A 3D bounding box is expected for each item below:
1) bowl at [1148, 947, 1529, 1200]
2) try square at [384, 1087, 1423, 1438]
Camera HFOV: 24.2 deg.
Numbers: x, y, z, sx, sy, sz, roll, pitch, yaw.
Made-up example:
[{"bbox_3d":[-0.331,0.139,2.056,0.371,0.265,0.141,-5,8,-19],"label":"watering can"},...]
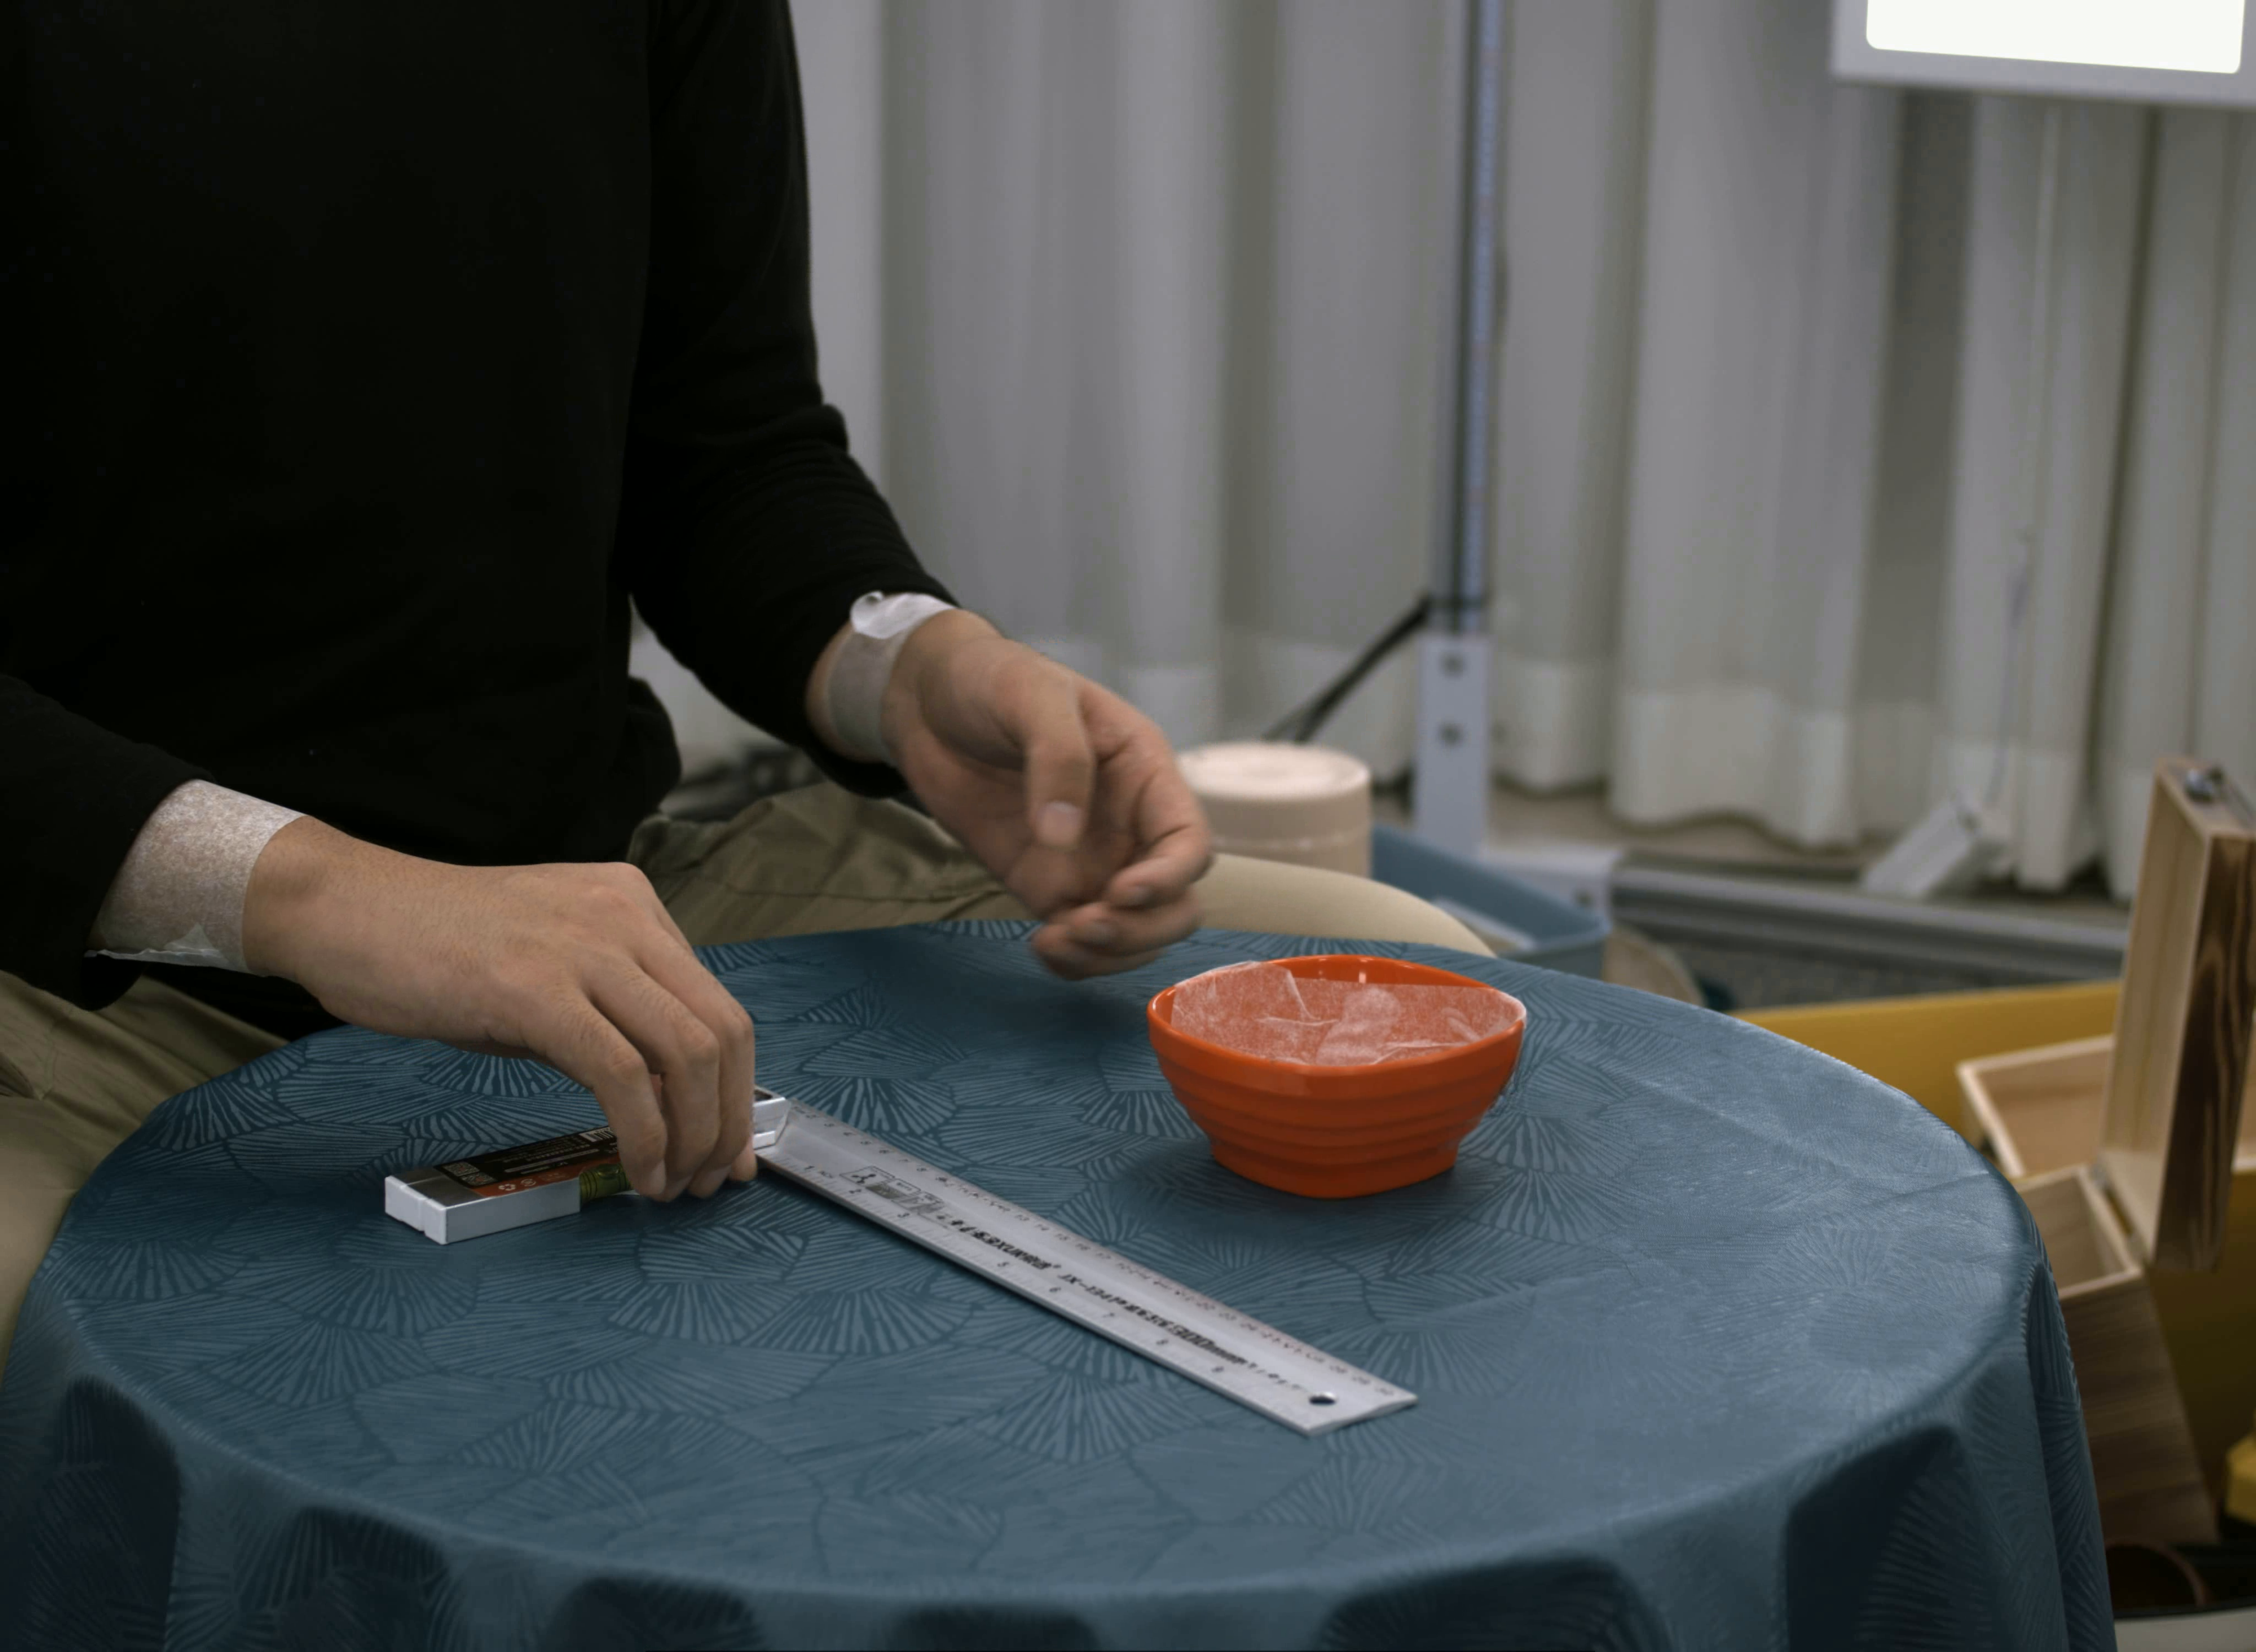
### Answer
[{"bbox_3d":[0.065,0.079,1.643,0.118,0.052,0.118,0,18,0],"label":"bowl"},{"bbox_3d":[-0.072,0.136,1.525,0.153,0.016,0.308,-14,22,-36],"label":"try square"}]
